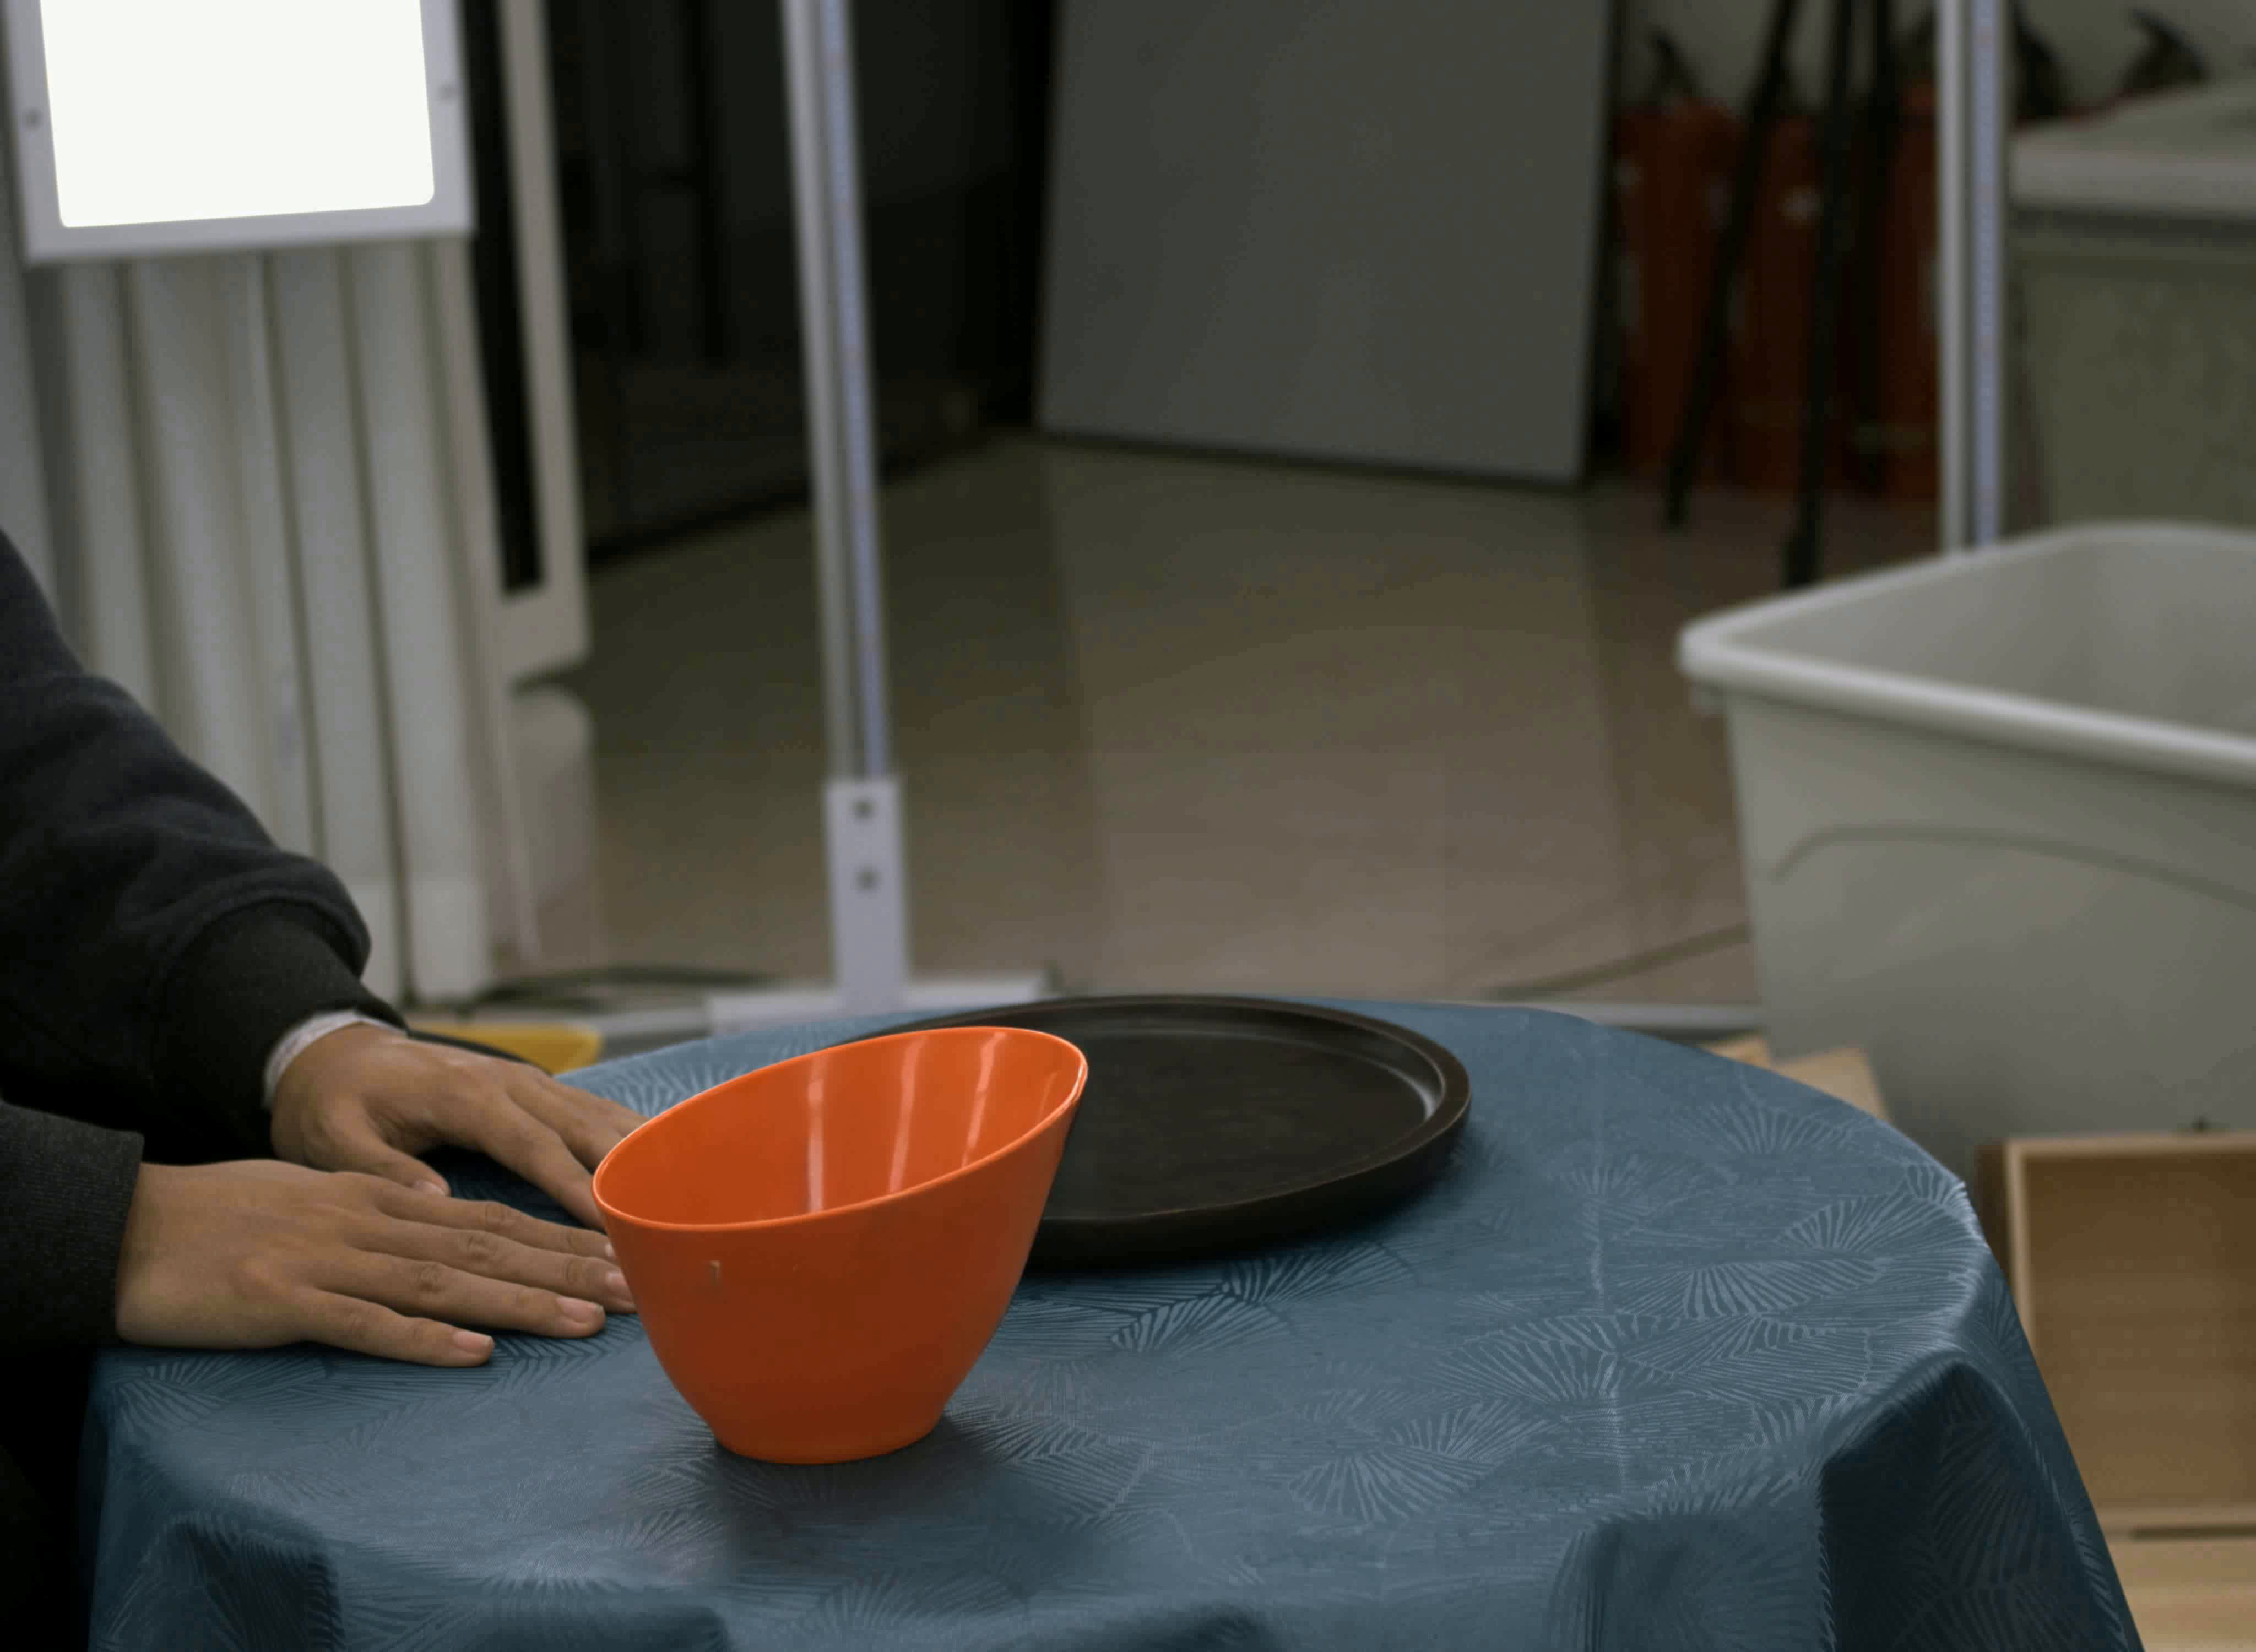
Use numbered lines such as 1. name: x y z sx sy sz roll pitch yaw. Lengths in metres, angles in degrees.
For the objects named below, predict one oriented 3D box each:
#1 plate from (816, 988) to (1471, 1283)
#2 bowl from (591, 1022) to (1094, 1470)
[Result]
1. plate: -0.010 0.103 1.798 0.251 0.029 0.255 -4 15 0
2. bowl: -0.080 0.124 1.561 0.146 0.106 0.148 -3 15 0
